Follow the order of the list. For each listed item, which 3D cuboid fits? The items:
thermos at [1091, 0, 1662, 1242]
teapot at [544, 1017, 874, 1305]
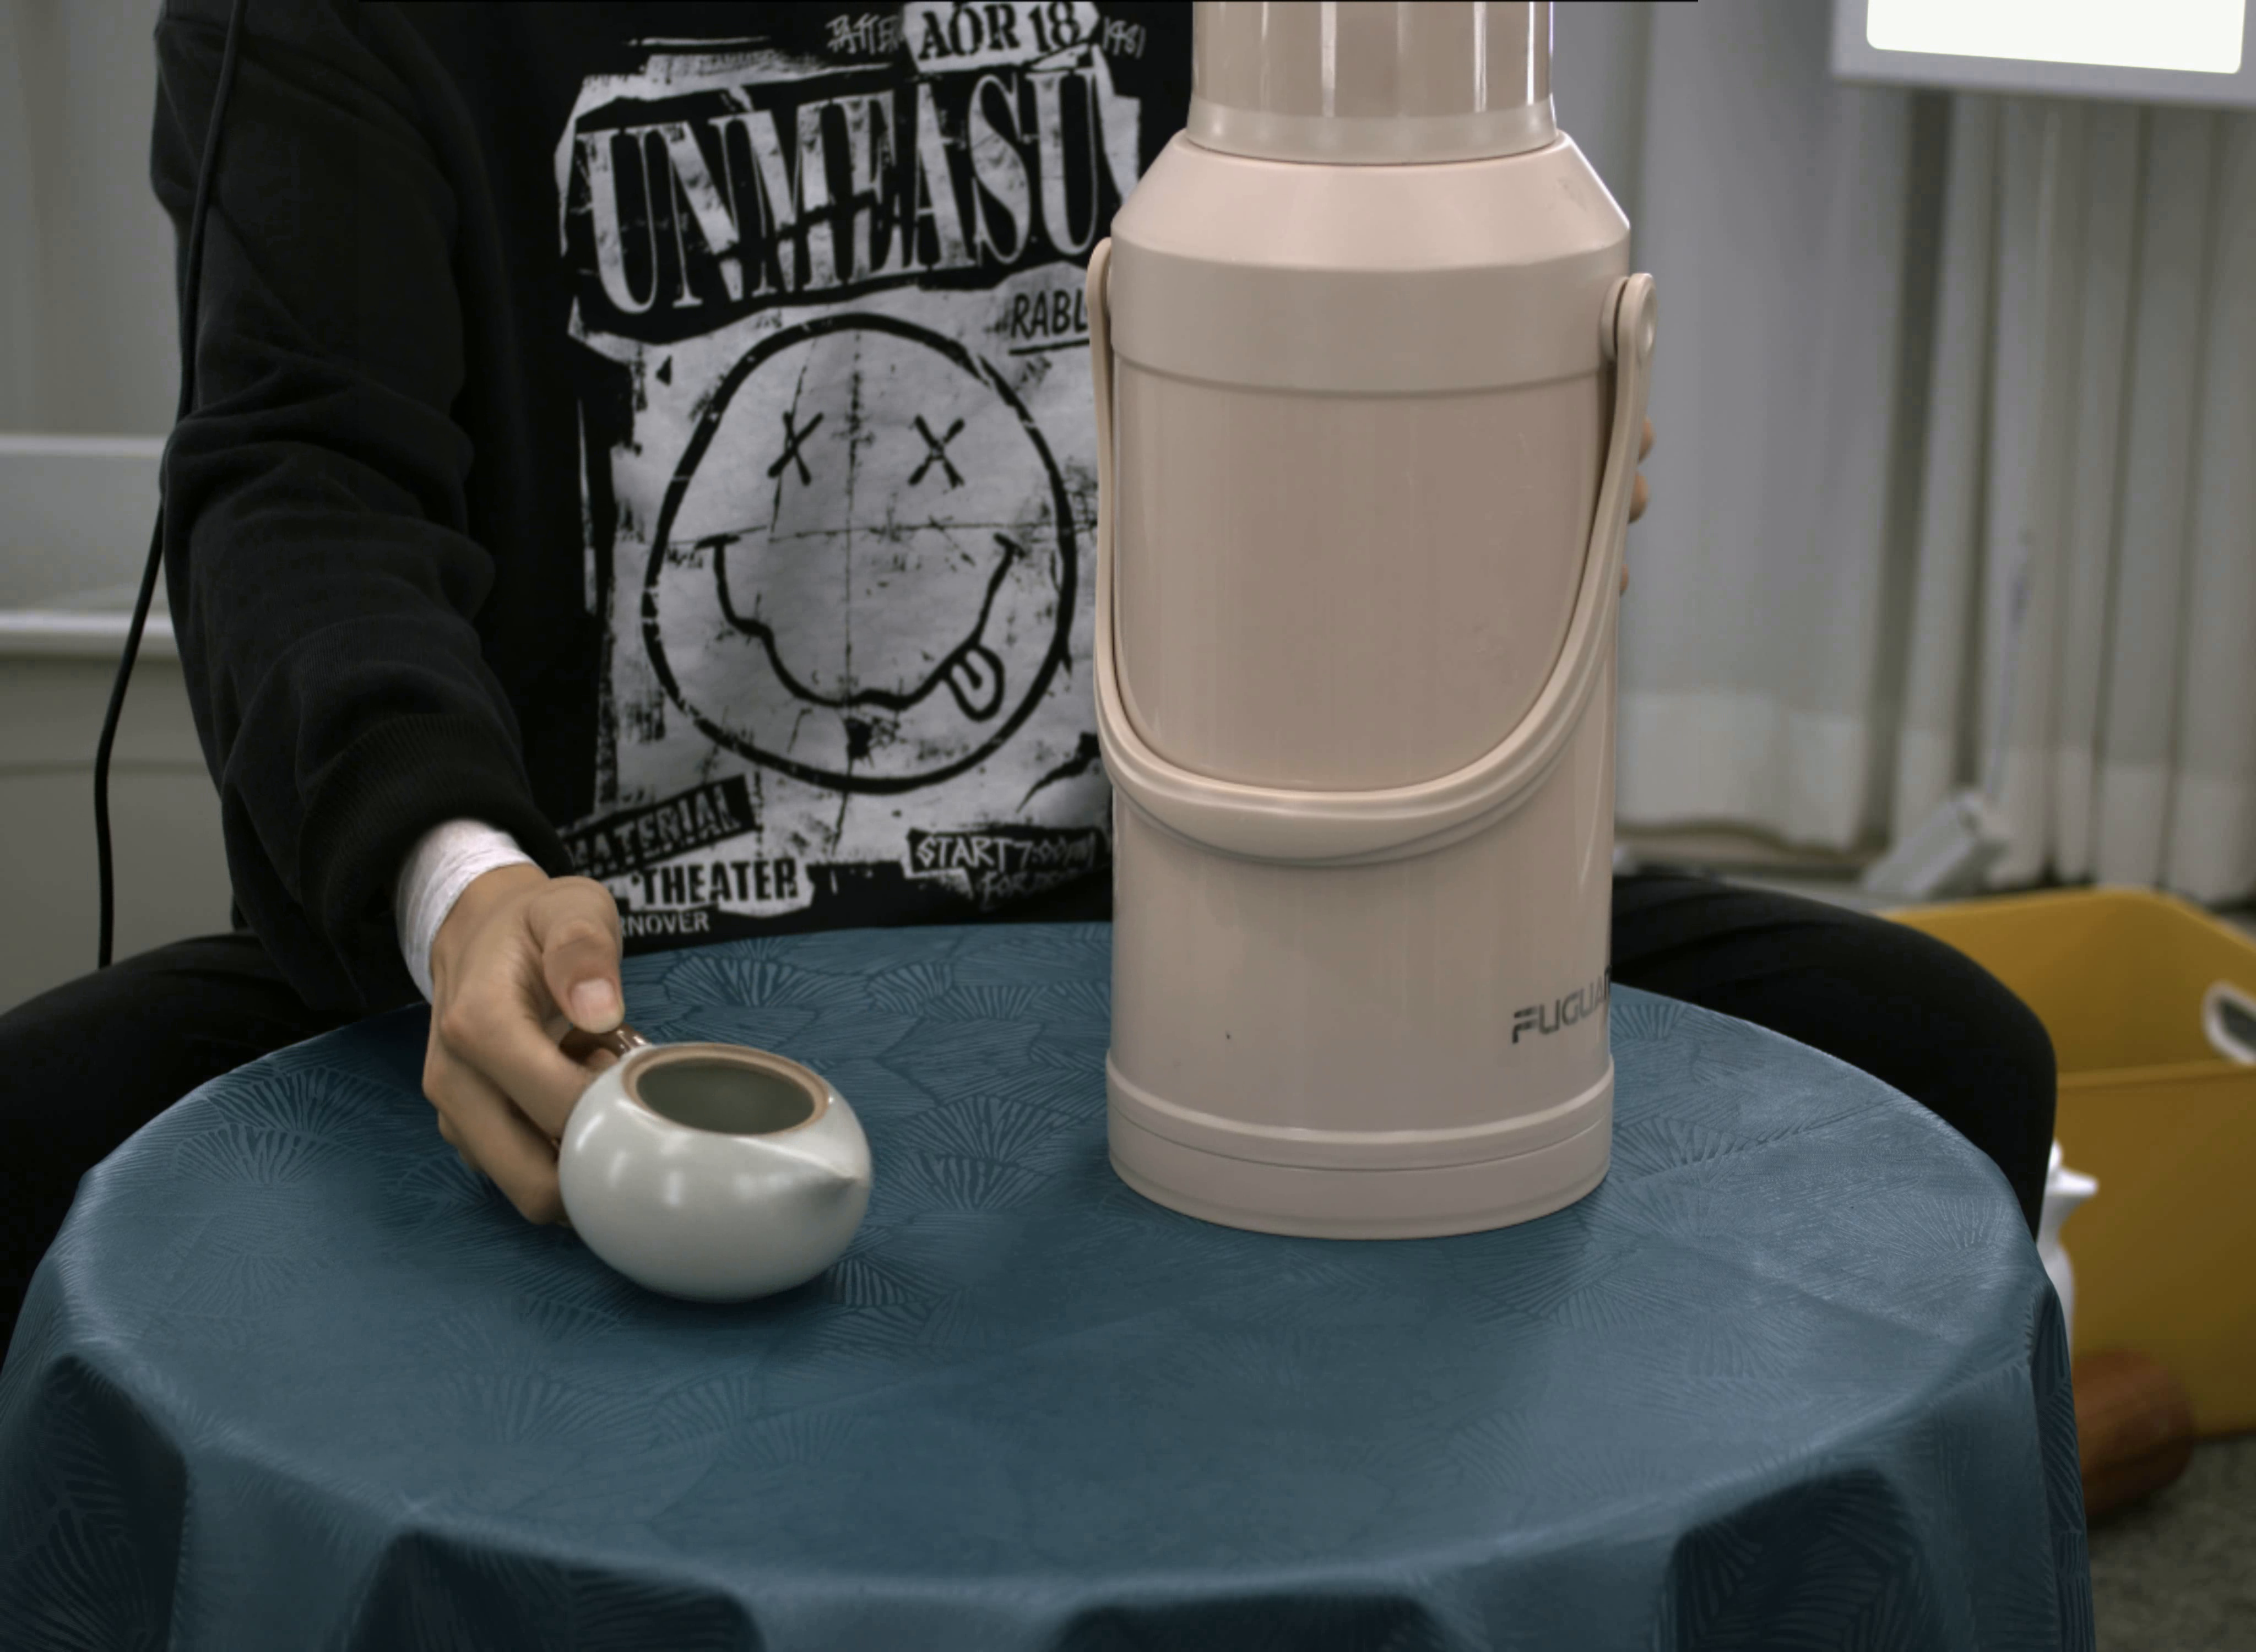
[{"bbox_3d":[0.081,-0.091,1.612,0.173,0.410,0.207,5,17,20],"label":"thermos"},{"bbox_3d":[-0.127,0.097,1.540,0.126,0.060,0.092,27,31,34],"label":"teapot"}]
